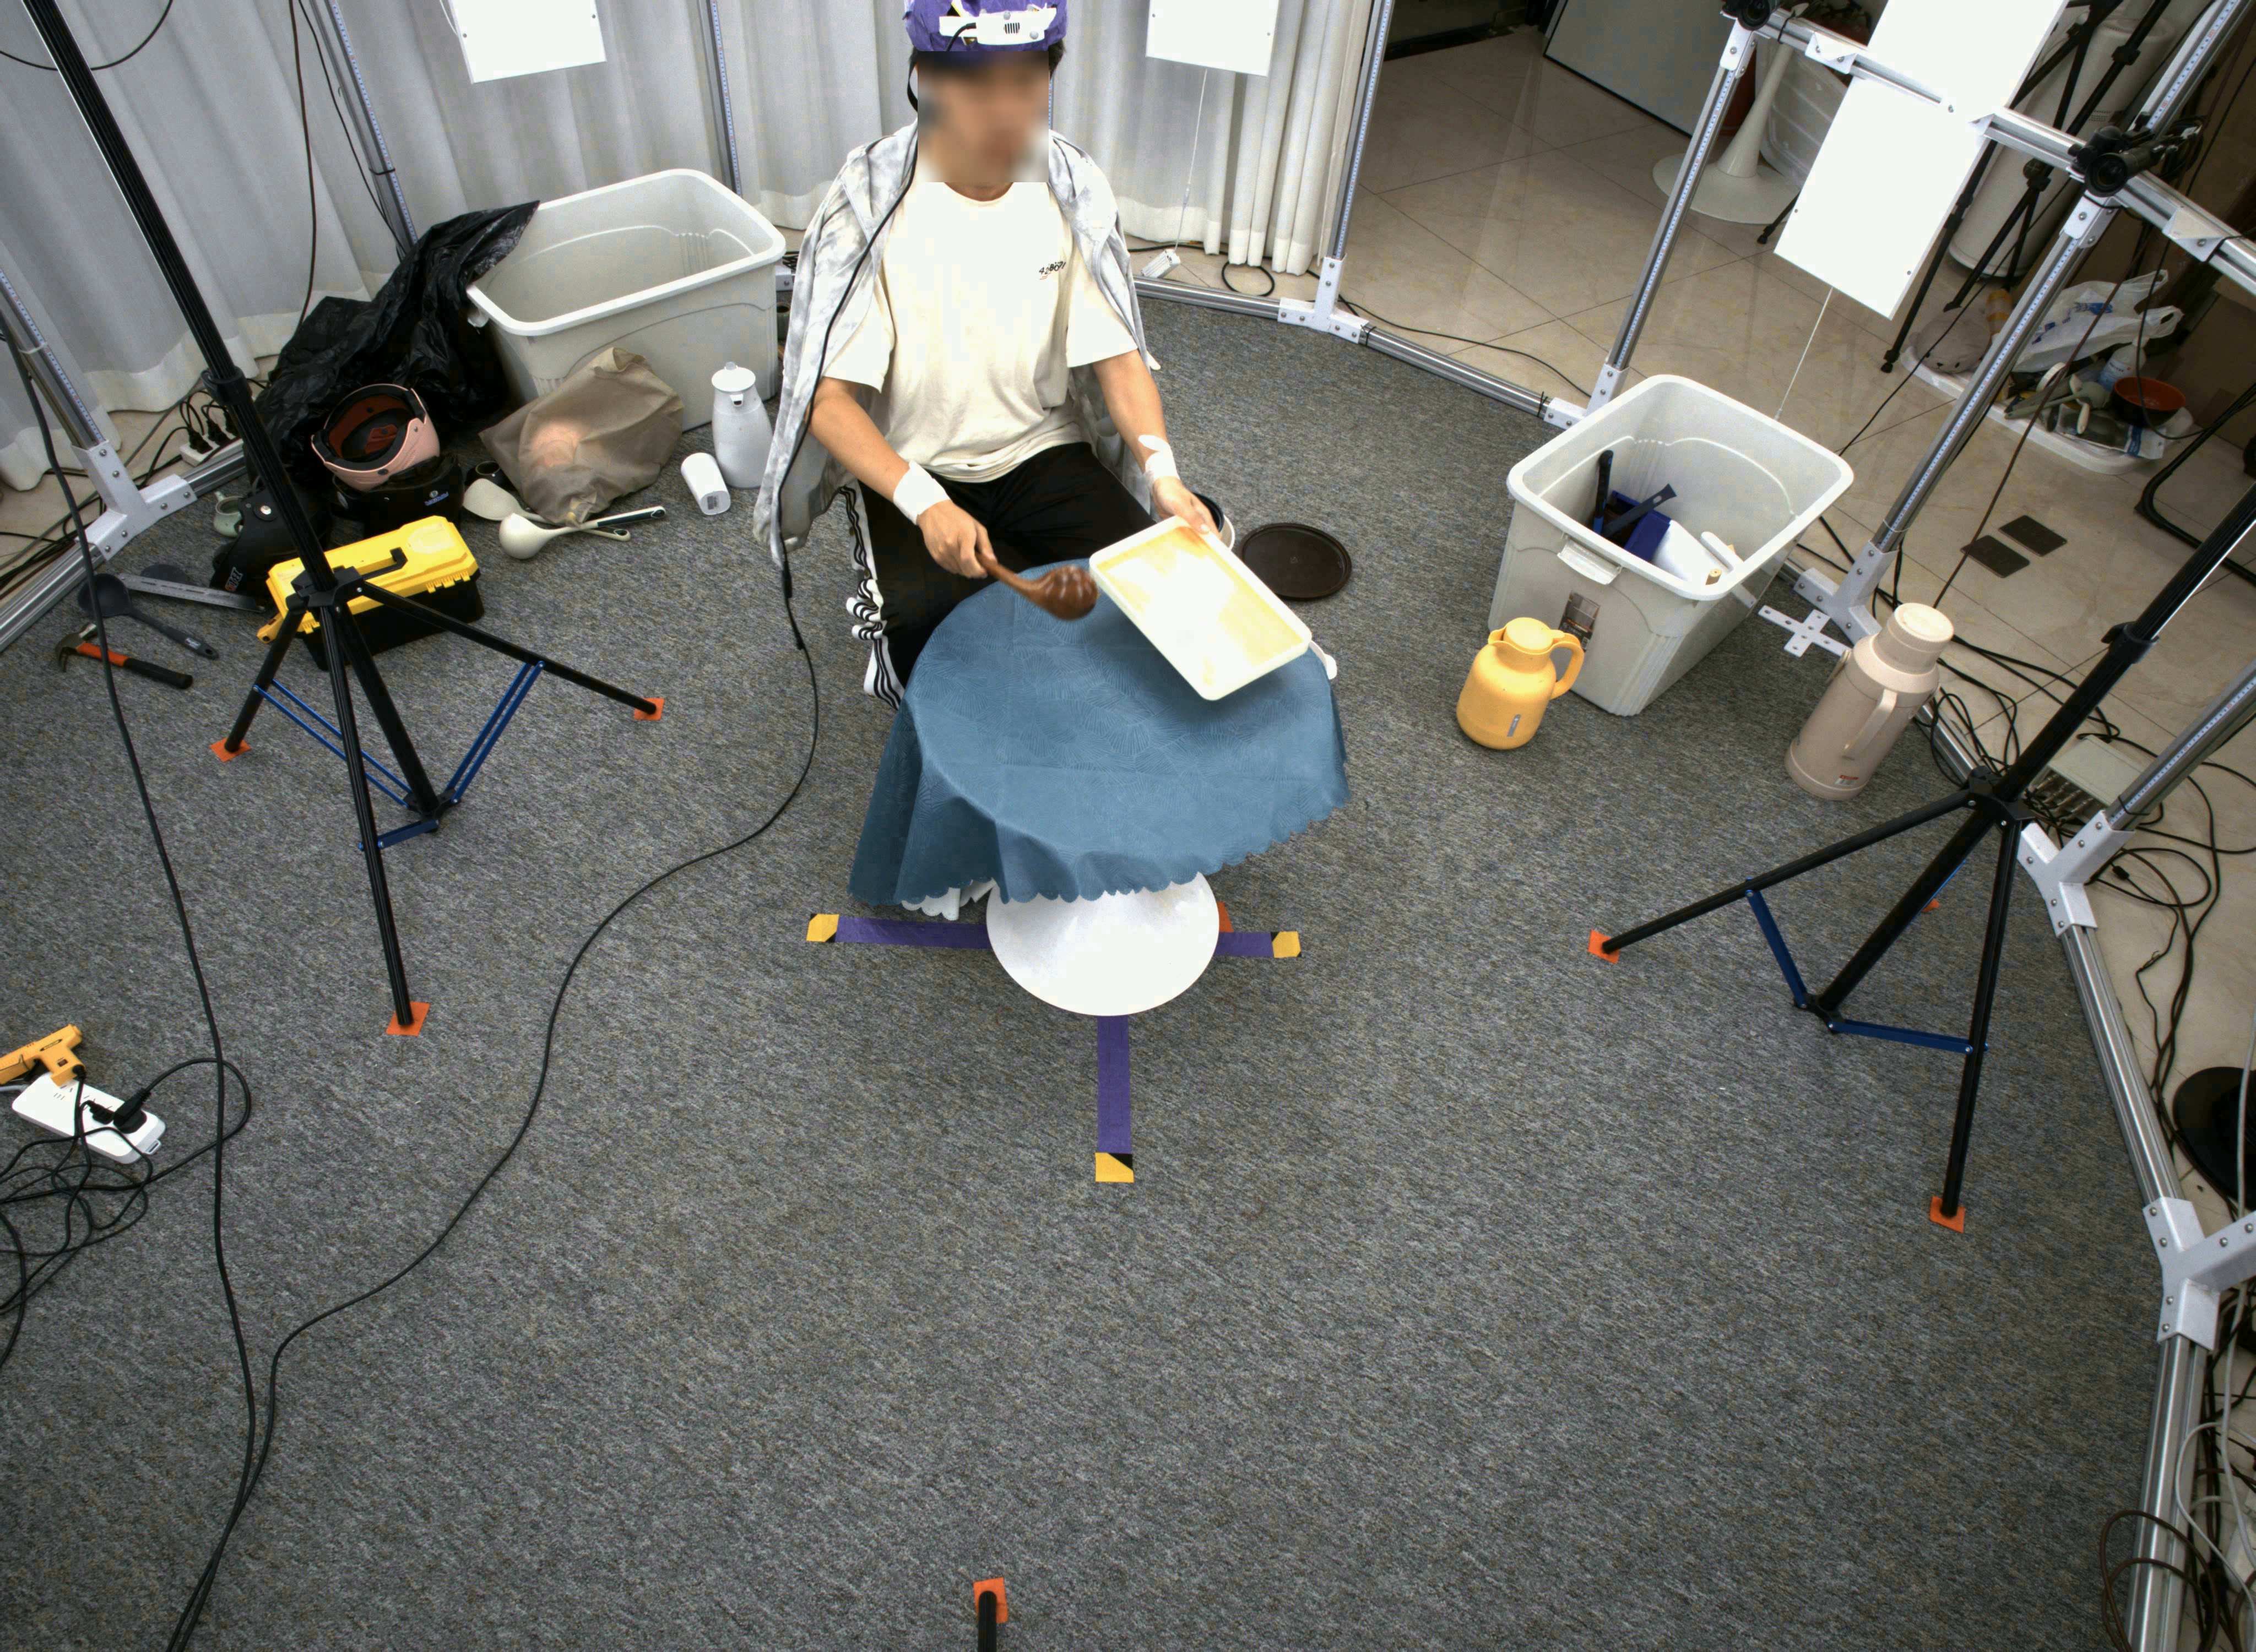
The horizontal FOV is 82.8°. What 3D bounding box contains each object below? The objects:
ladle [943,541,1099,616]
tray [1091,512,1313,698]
[{"bbox_3d":[-0.149,-0.363,1.799,0.077,0.080,0.278,-23,39,-34],"label":"ladle"},{"bbox_3d":[0.102,-0.322,1.838,0.192,0.027,0.305,-29,61,-21],"label":"tray"}]
